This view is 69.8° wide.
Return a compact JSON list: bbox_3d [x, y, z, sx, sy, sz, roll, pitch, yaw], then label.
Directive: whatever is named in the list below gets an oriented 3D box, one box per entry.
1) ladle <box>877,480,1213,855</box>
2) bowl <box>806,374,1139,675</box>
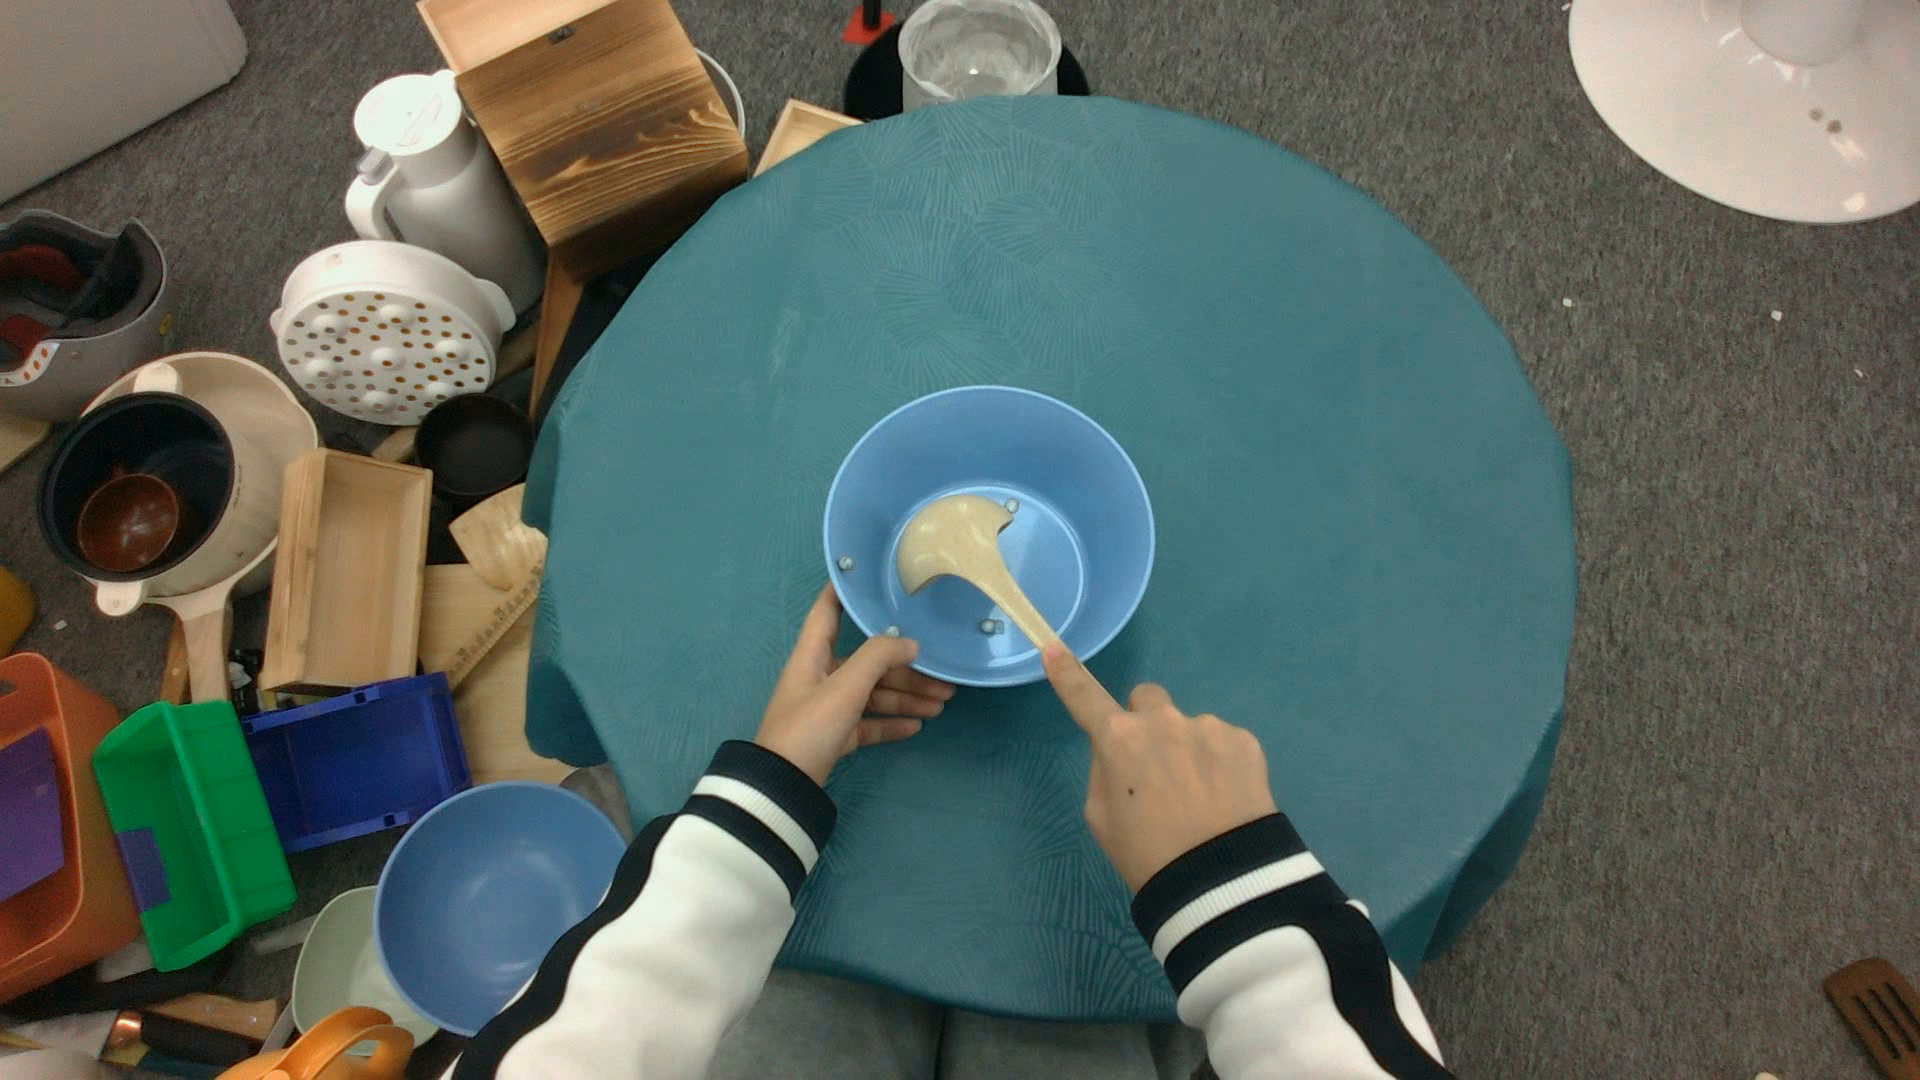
[{"bbox_3d":[0.044,0.068,0.693,0.072,0.072,0.255,-33,60,-10],"label":"ladle"},{"bbox_3d":[0.007,0.001,0.755,0.176,0.070,0.176,1,65,-1],"label":"bowl"}]
